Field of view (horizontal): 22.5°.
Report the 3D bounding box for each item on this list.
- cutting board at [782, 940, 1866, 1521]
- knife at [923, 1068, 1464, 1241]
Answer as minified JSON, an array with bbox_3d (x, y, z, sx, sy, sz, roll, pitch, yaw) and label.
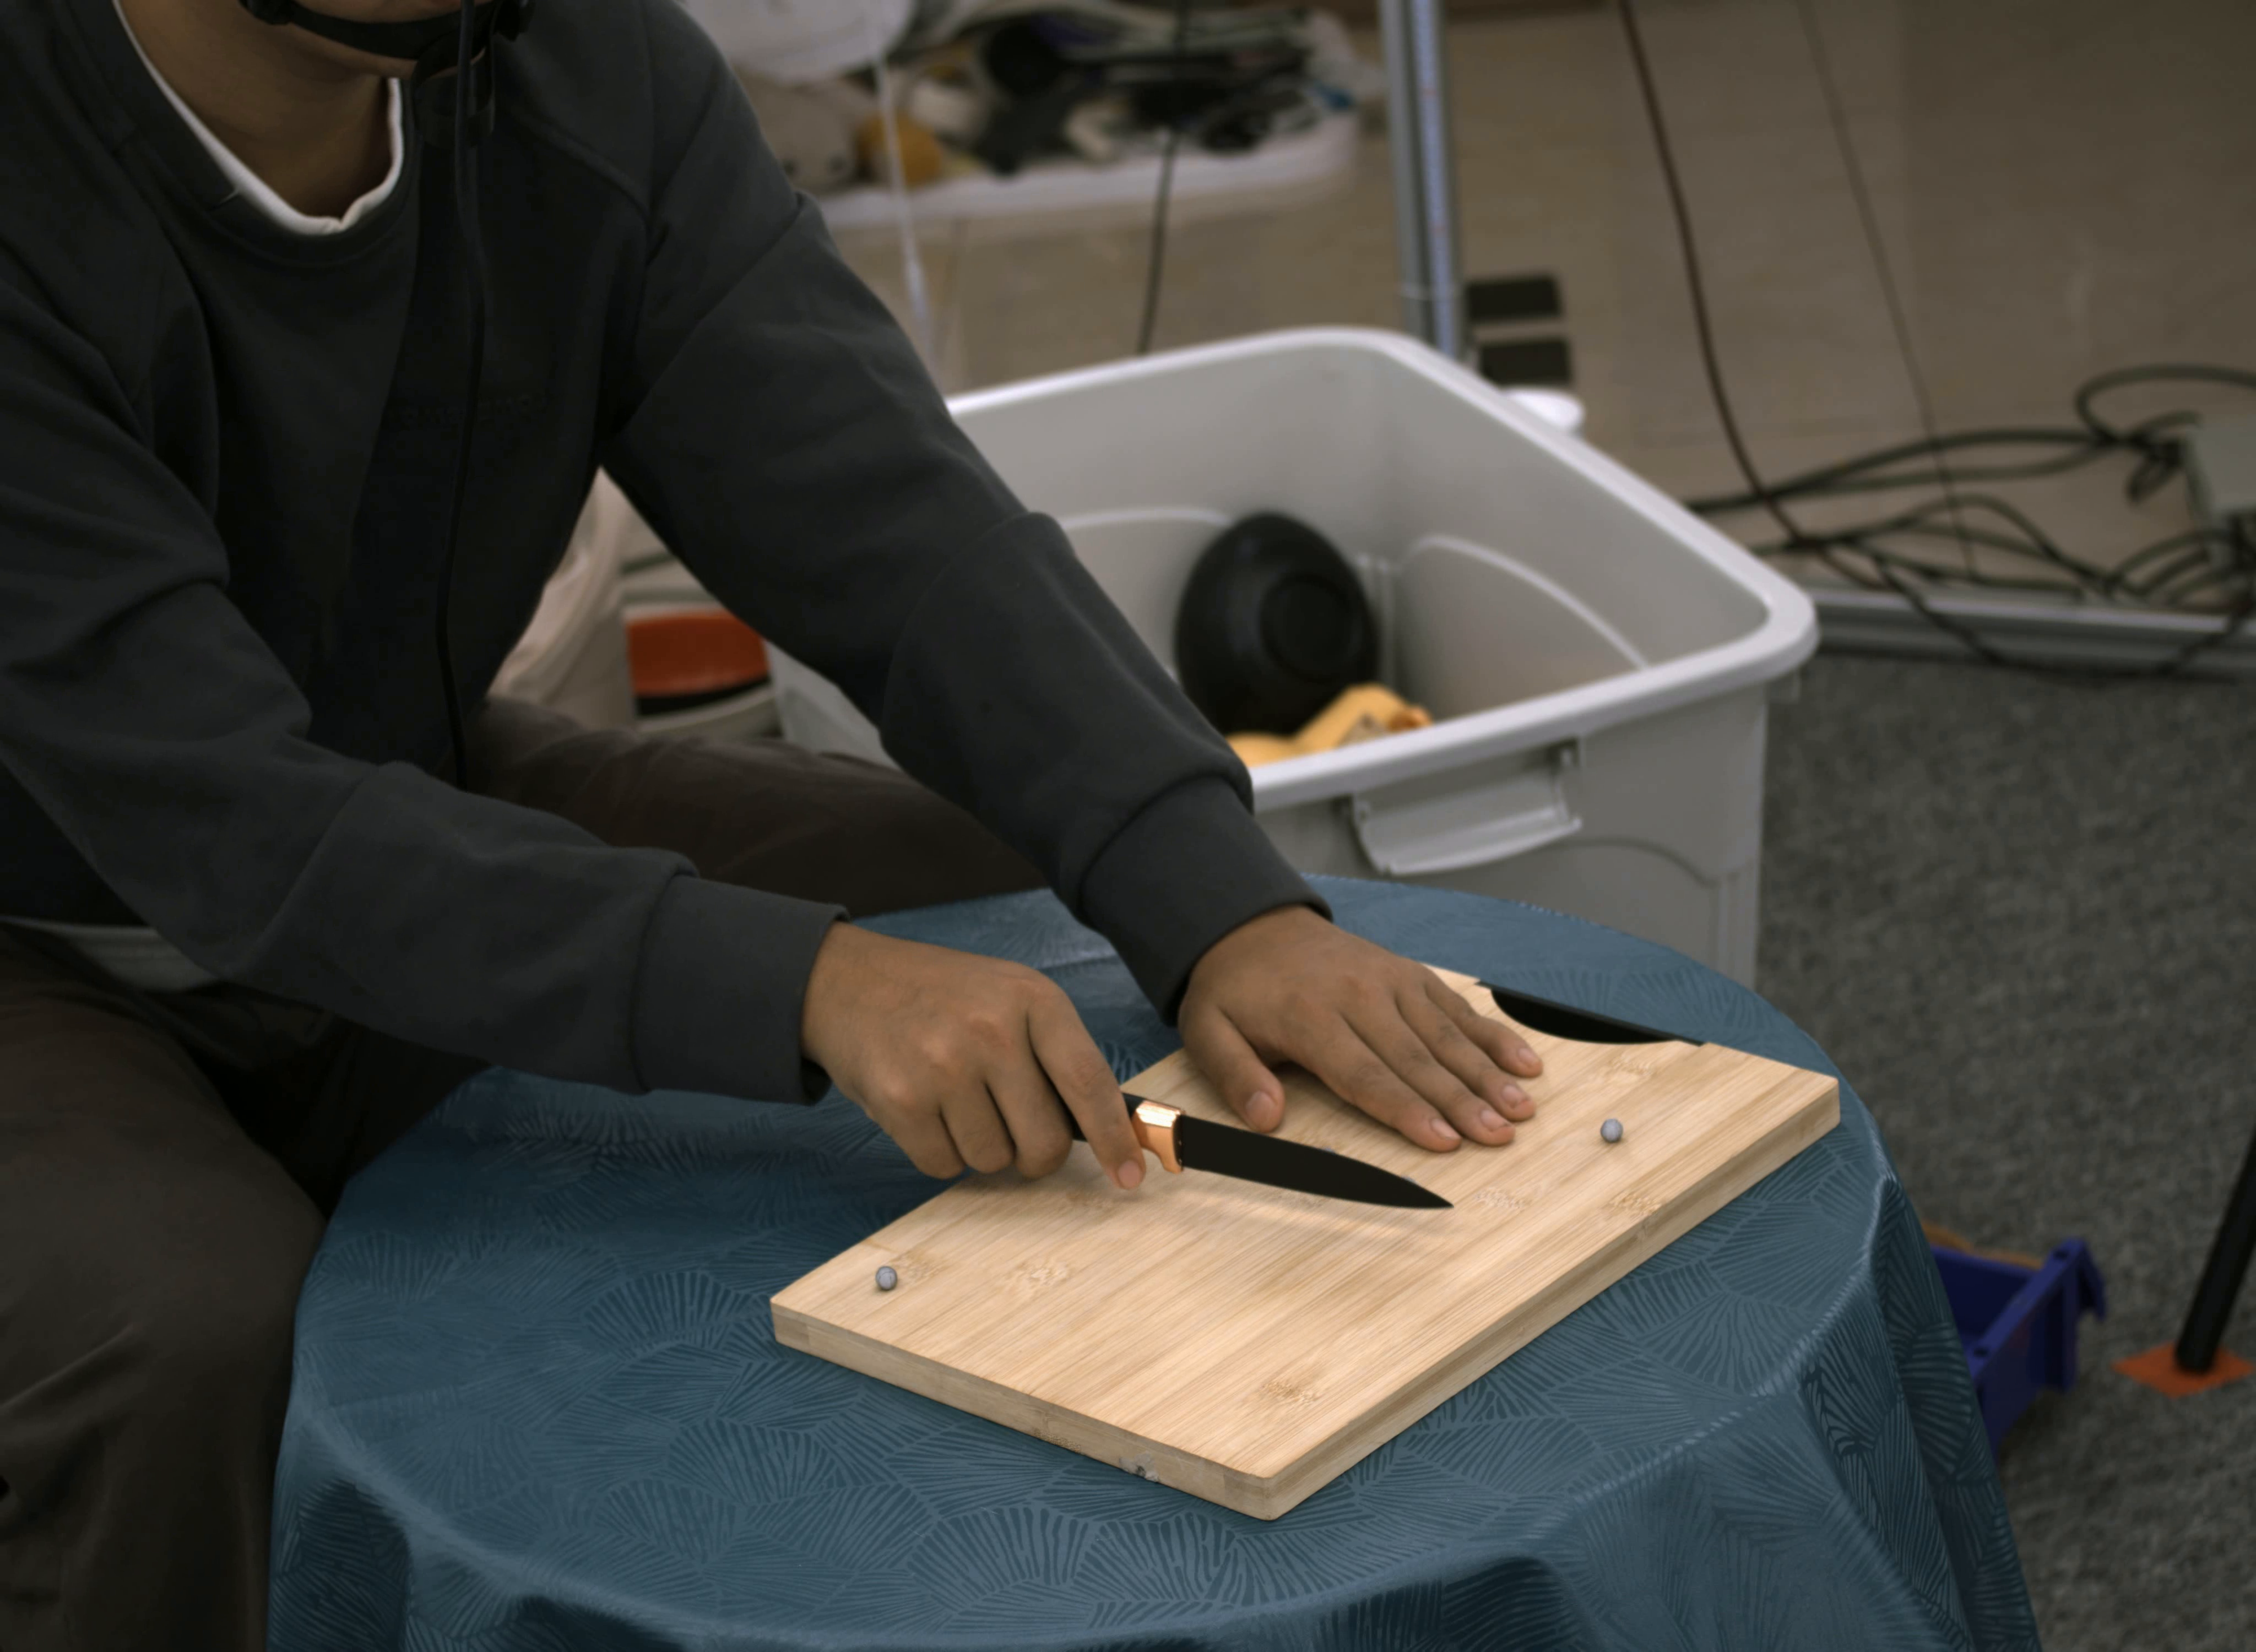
[{"bbox_3d":[0.074,0.141,2.107,0.249,0.024,0.345,15,32,39],"label":"cutting board"},{"bbox_3d":[0.023,0.120,2.092,0.224,0.026,0.017,12,25,26],"label":"knife"}]
